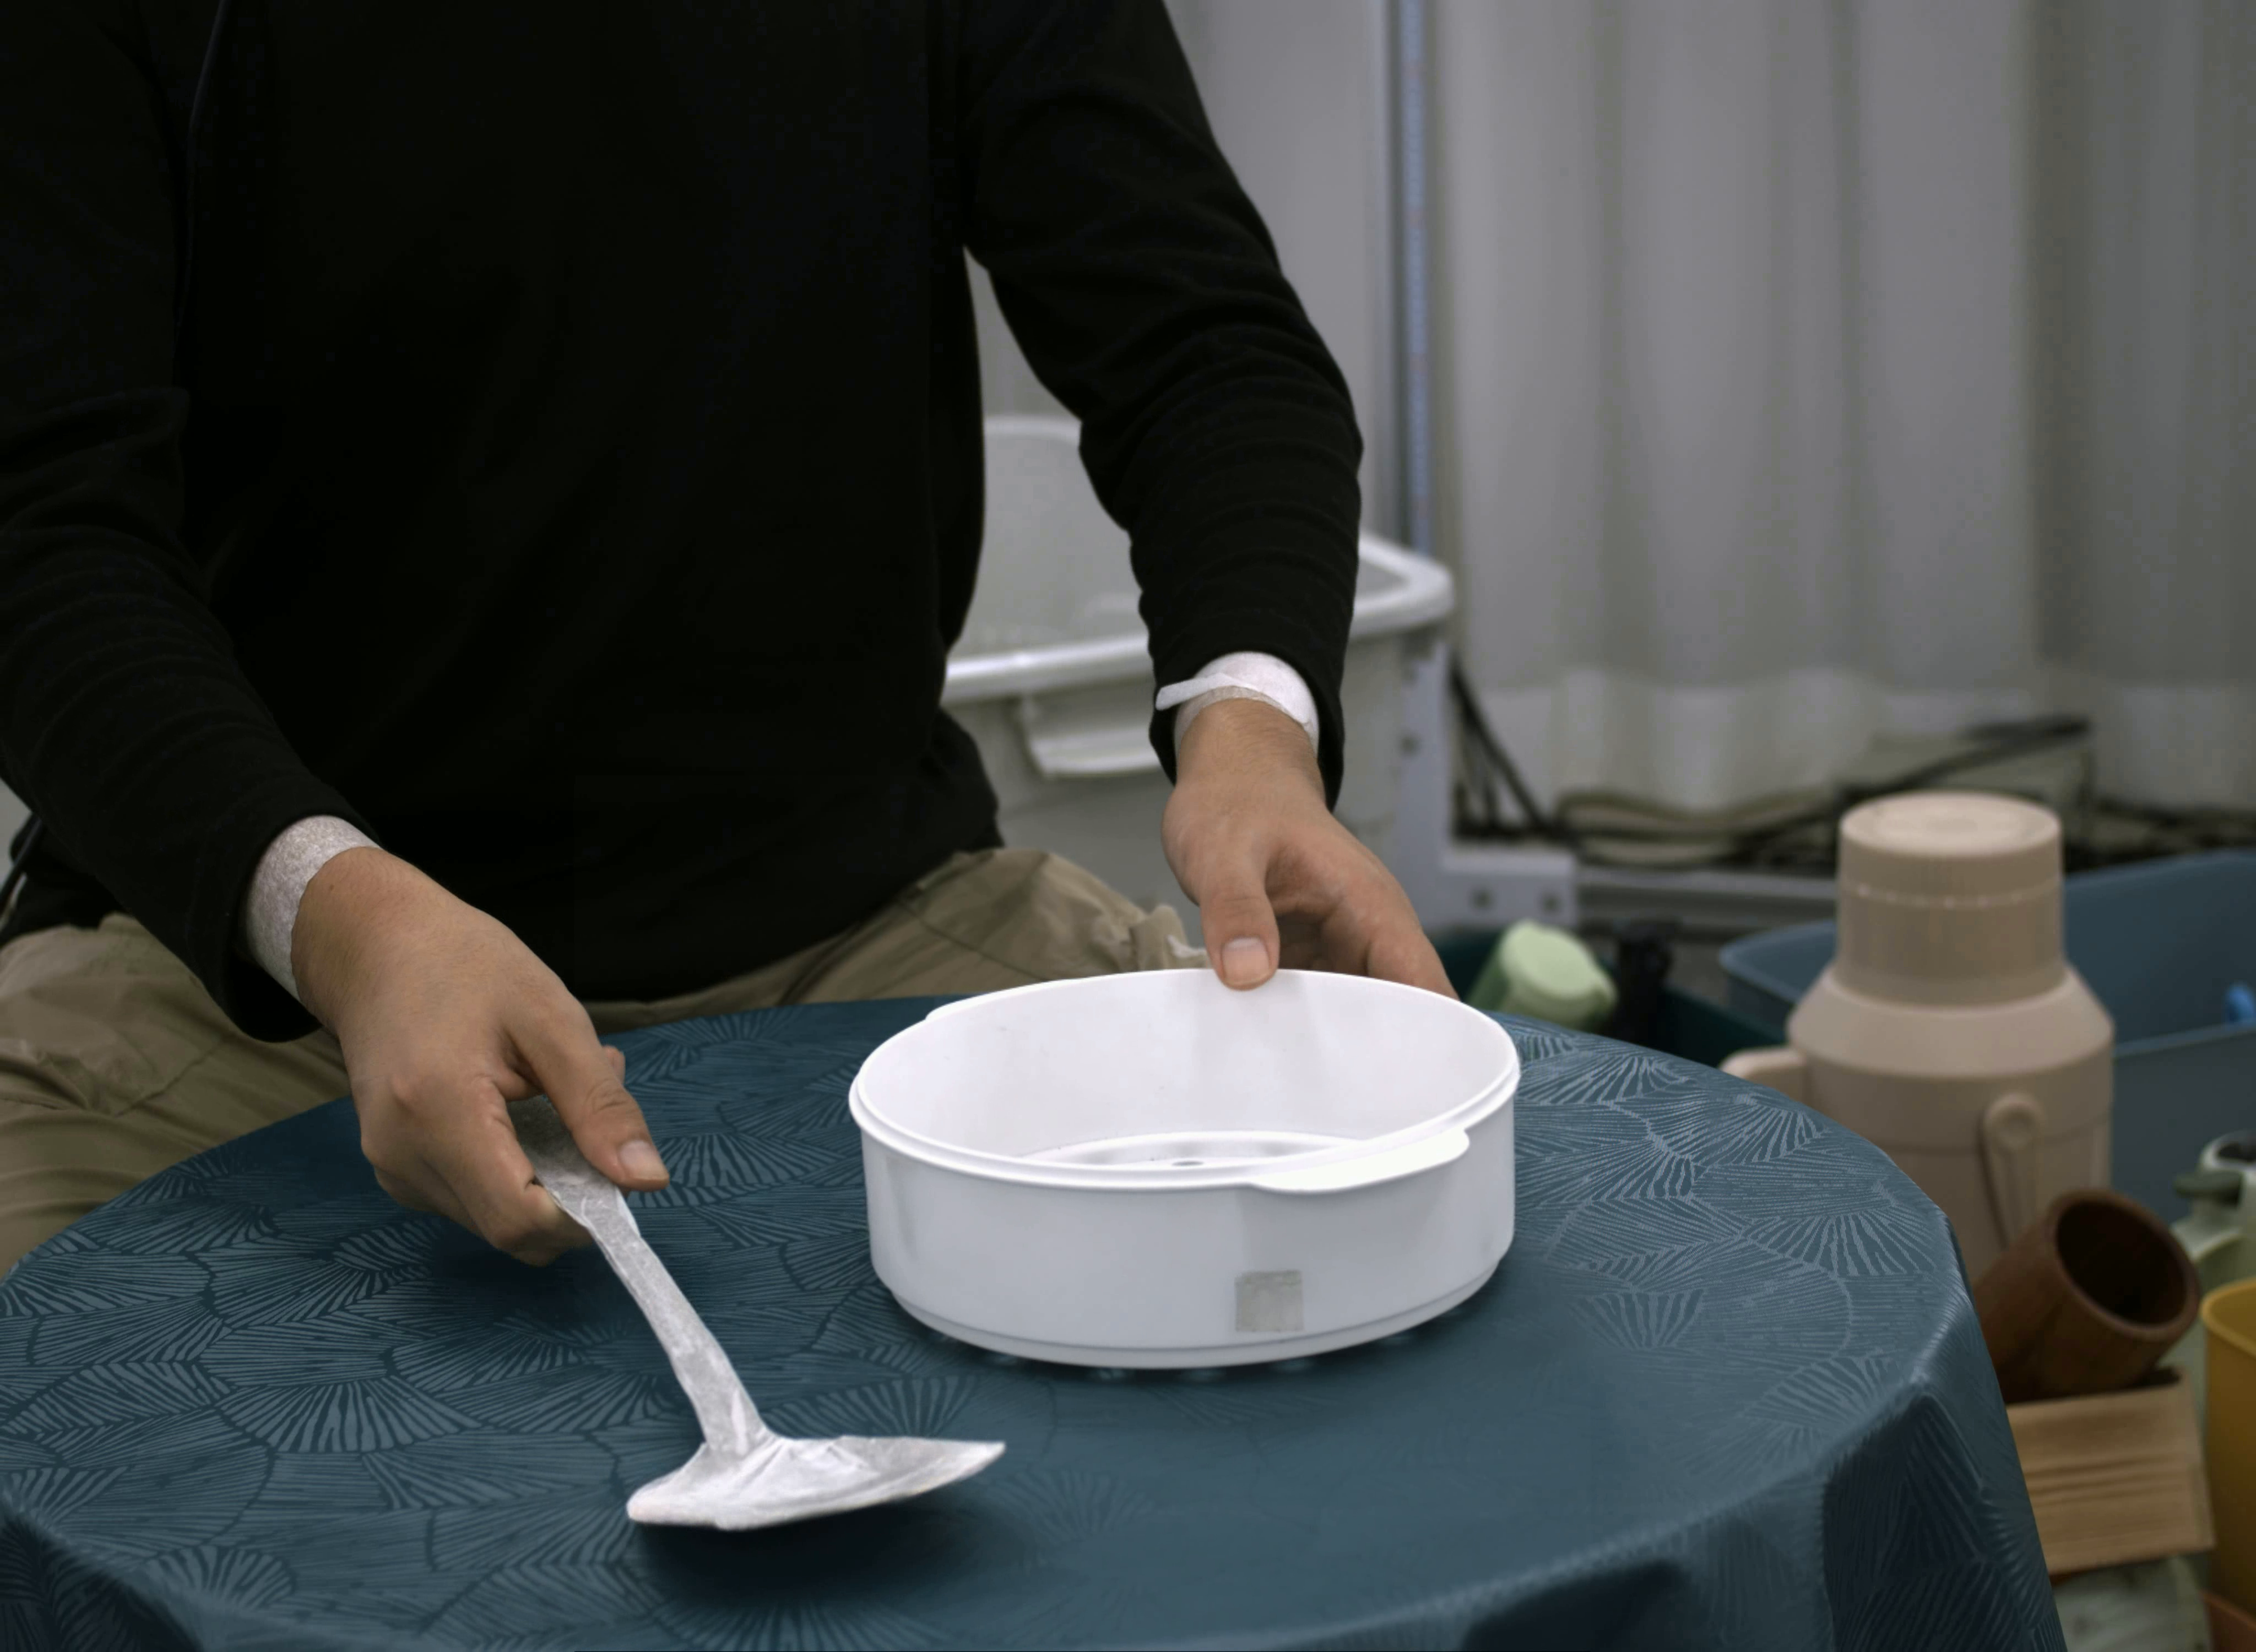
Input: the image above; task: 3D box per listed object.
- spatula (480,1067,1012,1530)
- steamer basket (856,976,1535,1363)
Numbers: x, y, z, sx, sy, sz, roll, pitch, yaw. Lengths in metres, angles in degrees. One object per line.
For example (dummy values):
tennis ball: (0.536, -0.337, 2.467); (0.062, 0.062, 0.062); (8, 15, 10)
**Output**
spatula: (-0.135, 0.126, 1.566); (0.098, 0.044, 0.369); (-12, 25, -19)
steamer basket: (0.021, 0.102, 1.623); (0.201, 0.069, 0.232); (-10, 15, -28)
